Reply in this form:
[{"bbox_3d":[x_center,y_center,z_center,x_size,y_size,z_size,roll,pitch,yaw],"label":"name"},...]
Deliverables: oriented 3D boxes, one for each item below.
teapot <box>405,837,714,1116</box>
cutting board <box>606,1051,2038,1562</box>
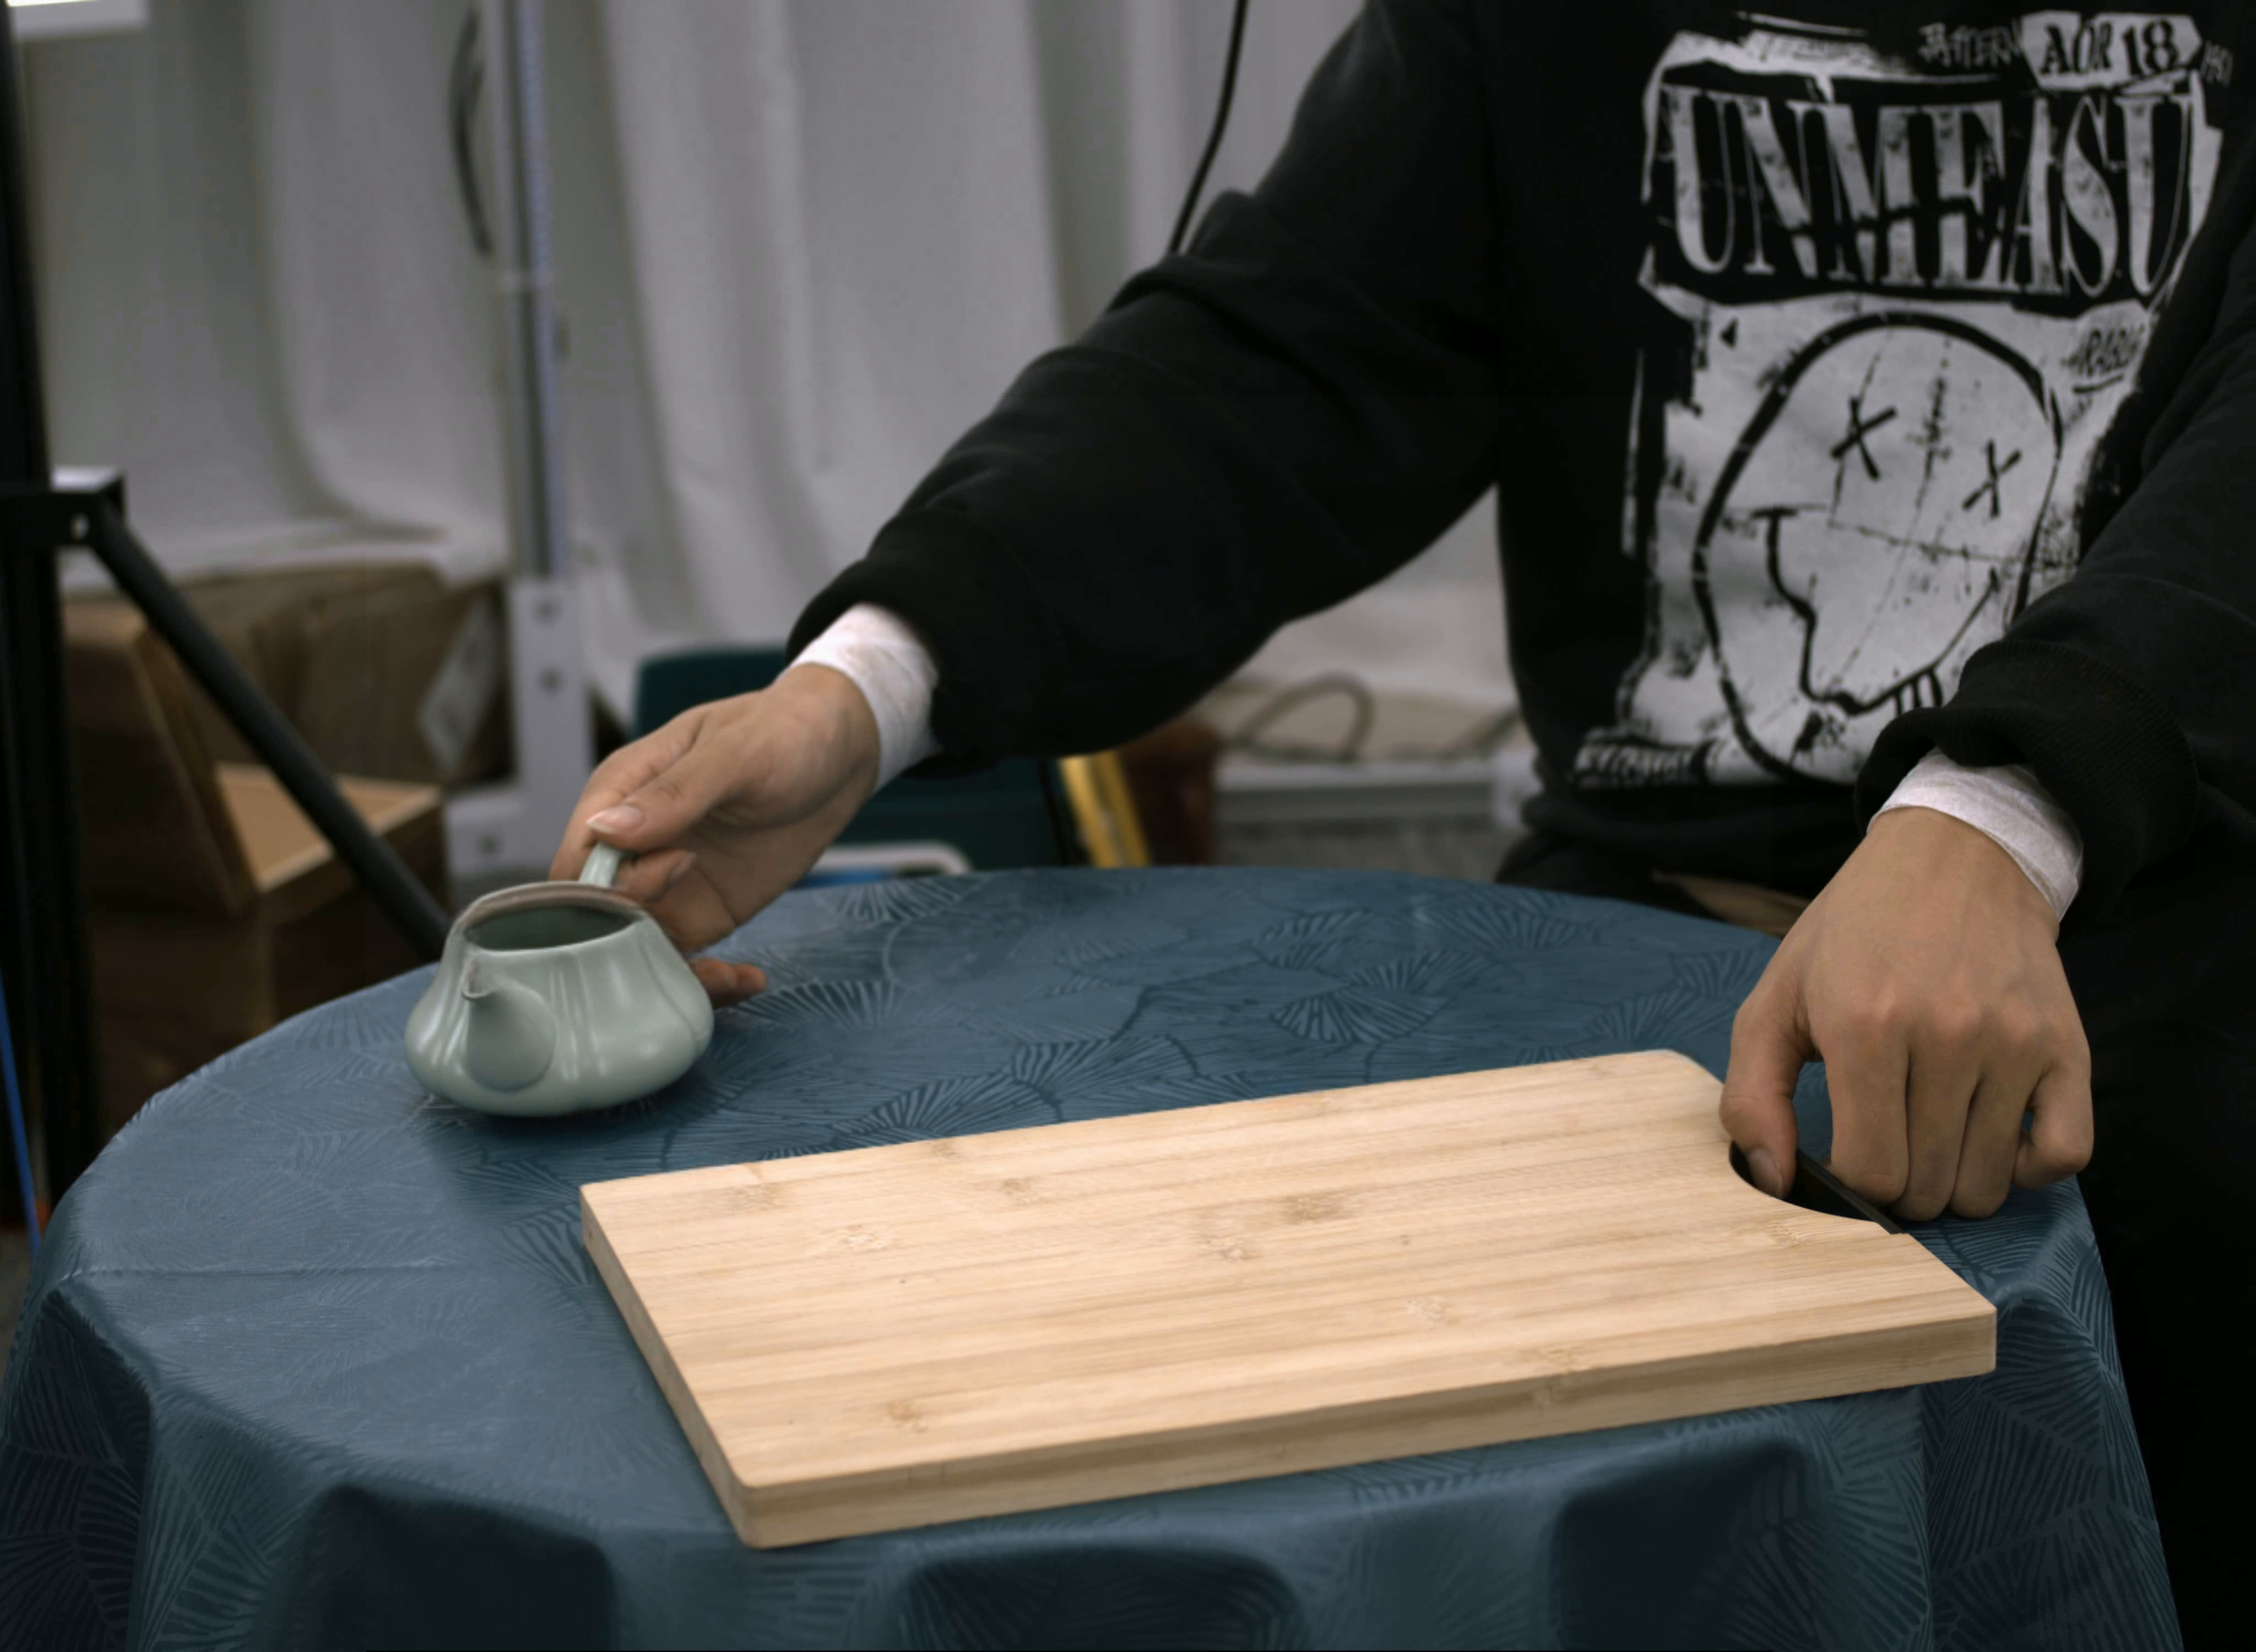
[{"bbox_3d":[-0.177,0.051,1.667,0.097,0.061,0.136,0,21,14],"label":"teapot"},{"bbox_3d":[0.042,0.125,1.460,0.343,0.023,0.254,-7,16,-14],"label":"cutting board"}]
